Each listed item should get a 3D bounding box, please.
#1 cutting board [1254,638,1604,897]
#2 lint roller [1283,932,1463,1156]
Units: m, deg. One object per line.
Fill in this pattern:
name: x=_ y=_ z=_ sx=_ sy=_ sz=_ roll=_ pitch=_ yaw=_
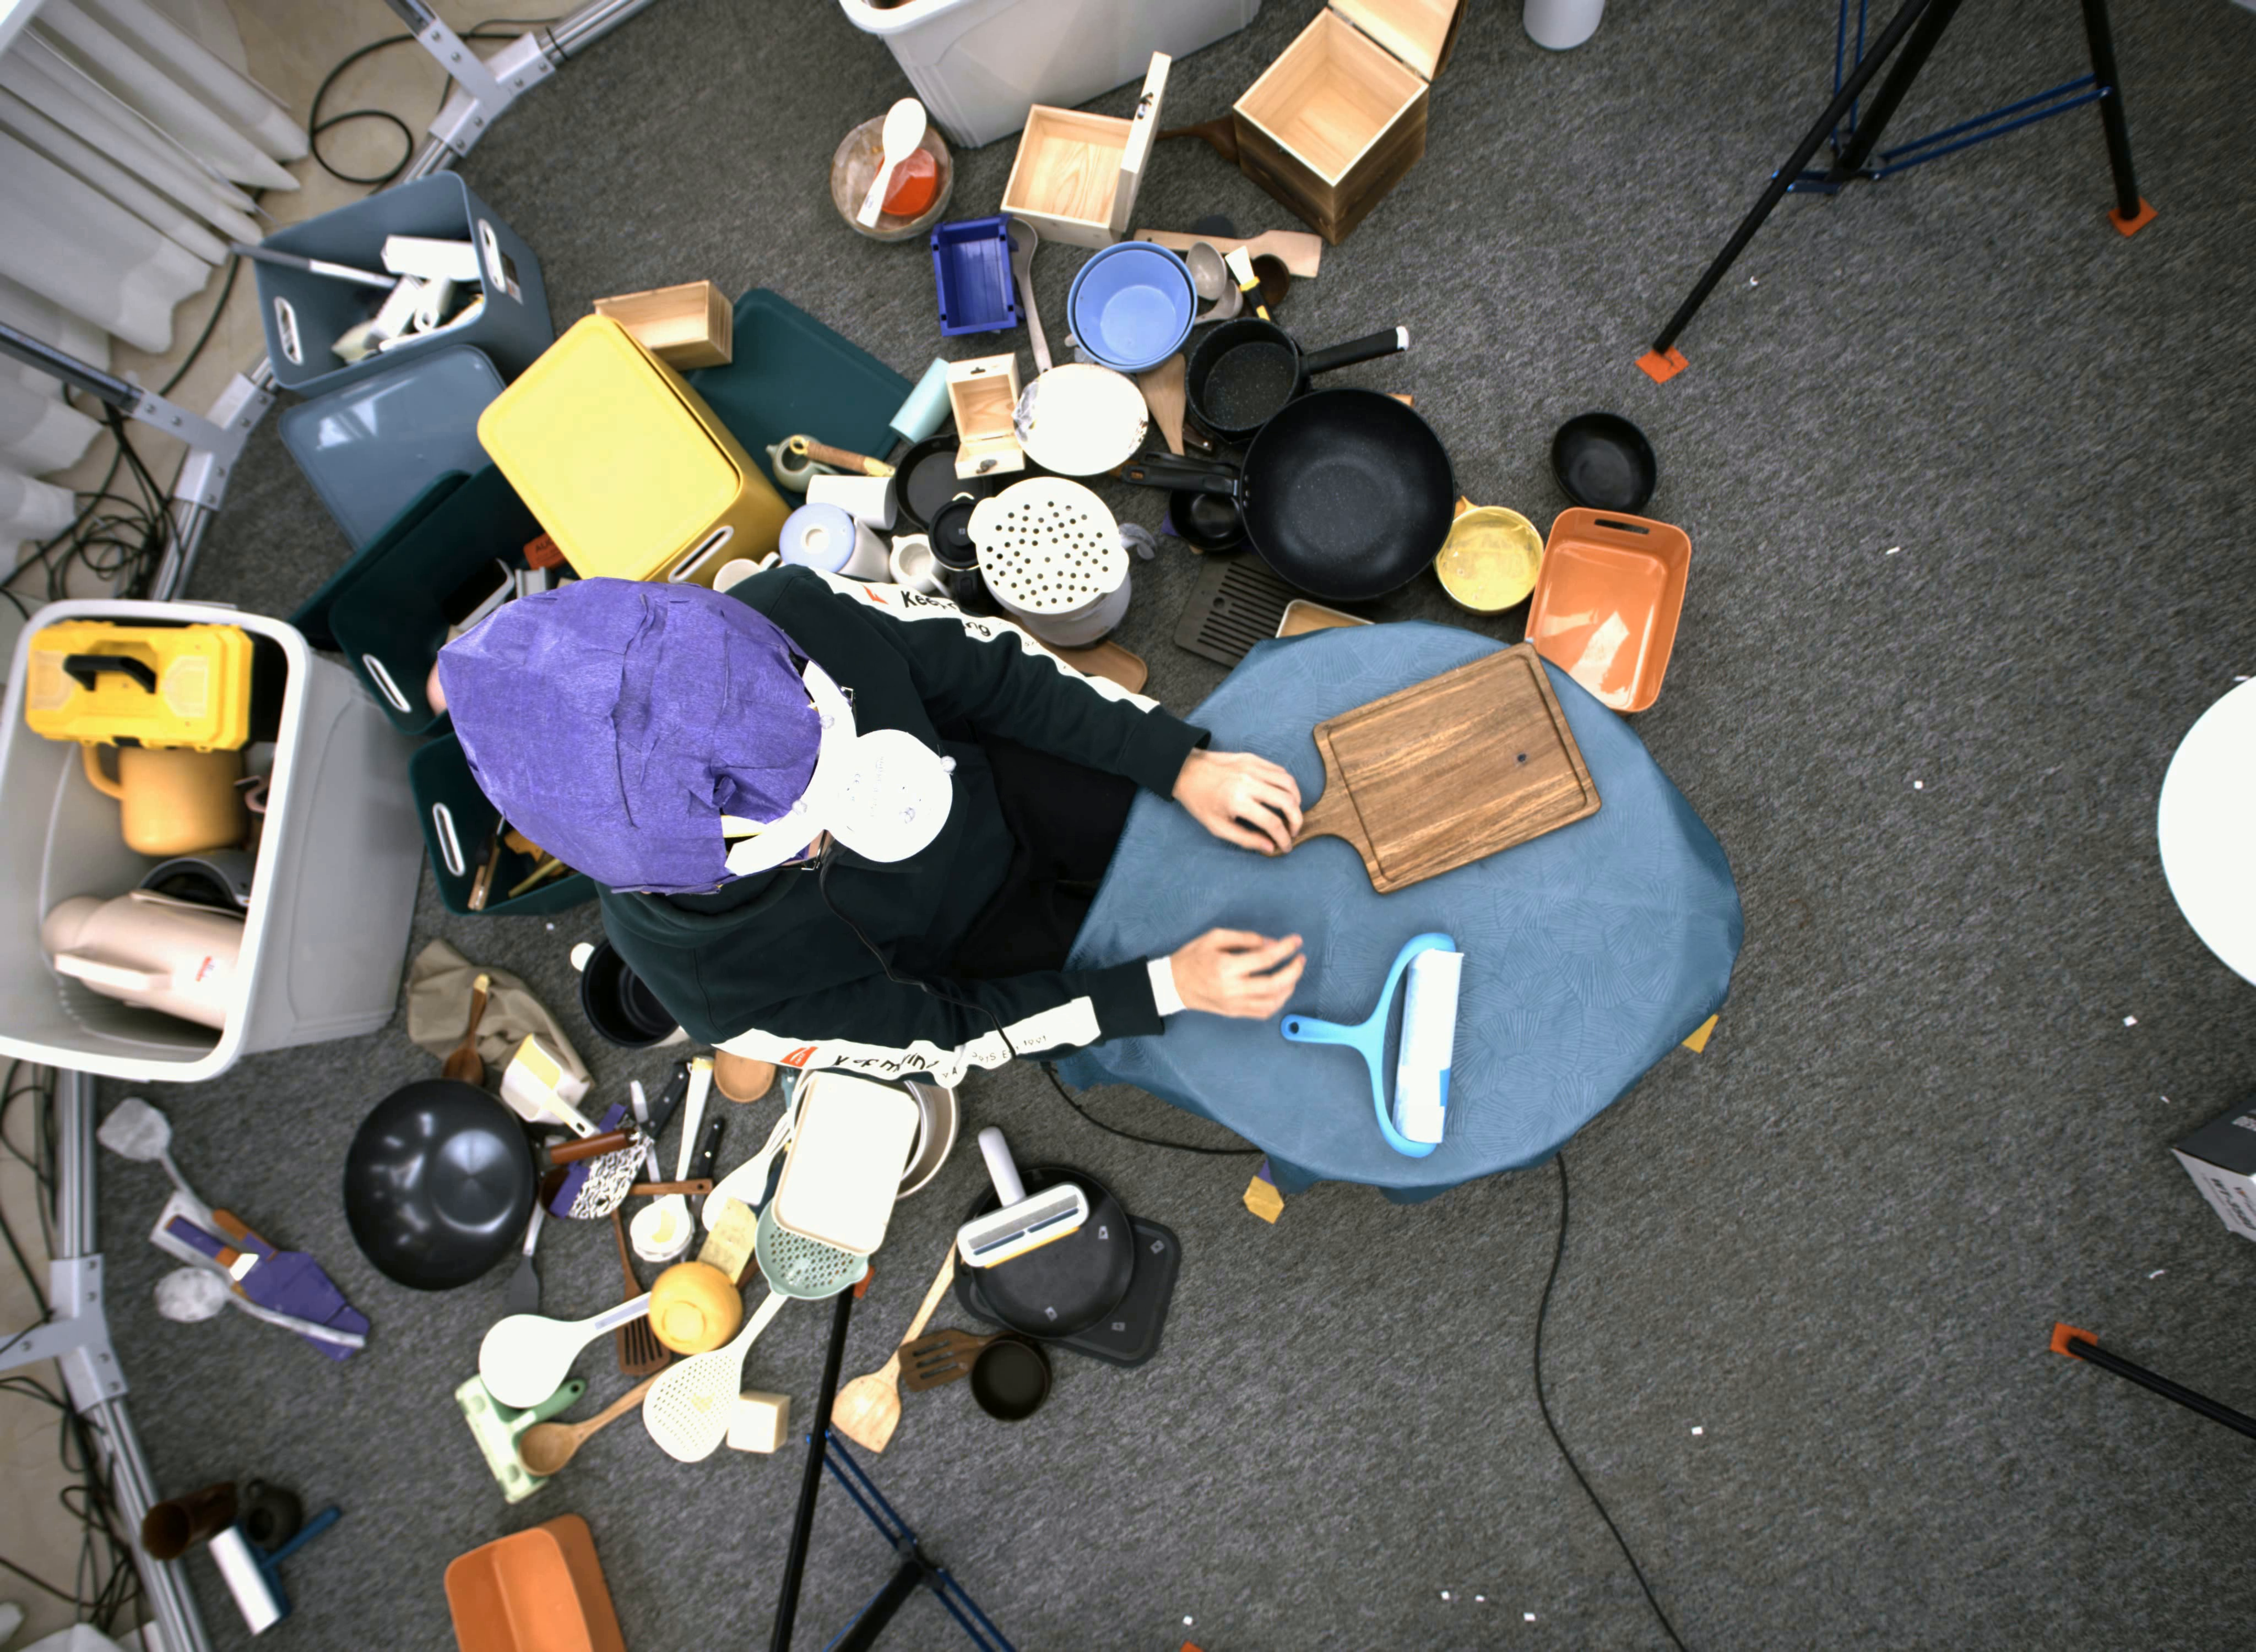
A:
cutting board: x=0.297 y=-0.045 z=1.445 sx=0.354 sy=0.023 sz=0.200 roll=-22 pitch=83 yaw=8
lint roller: x=0.249 y=0.218 z=1.423 sx=0.181 sy=0.068 sz=0.228 roll=3 pitch=89 yaw=9
